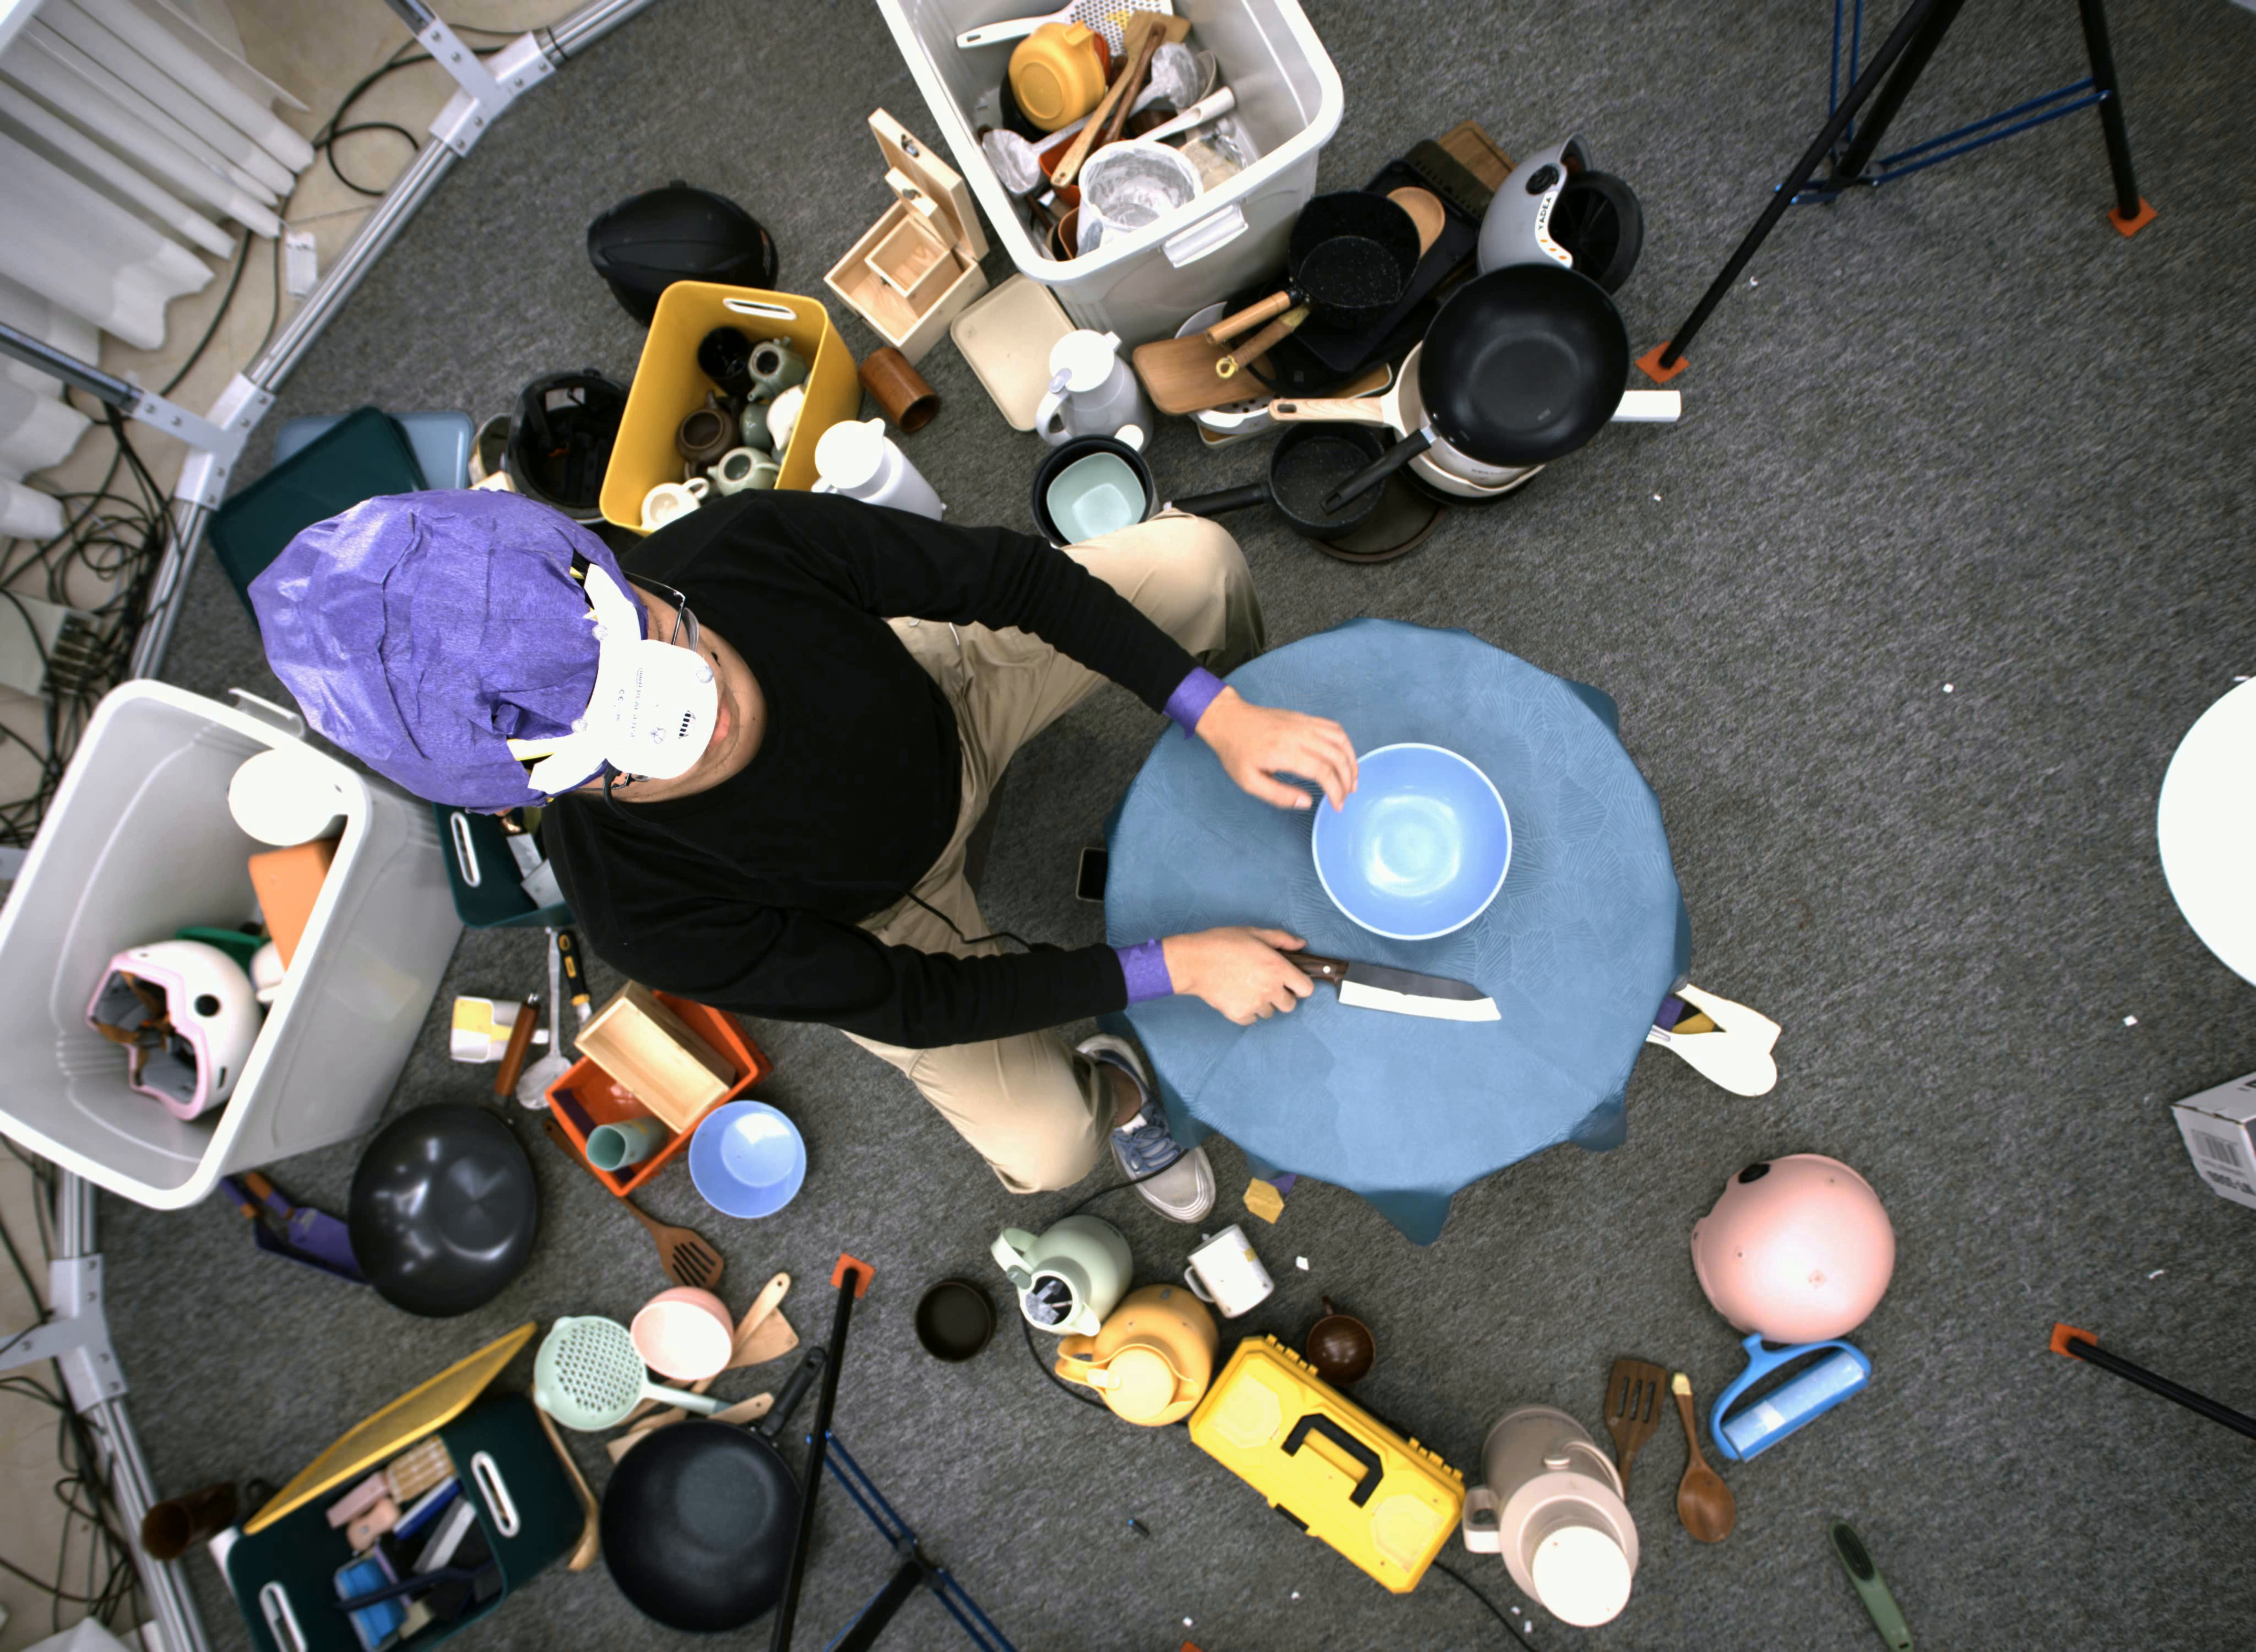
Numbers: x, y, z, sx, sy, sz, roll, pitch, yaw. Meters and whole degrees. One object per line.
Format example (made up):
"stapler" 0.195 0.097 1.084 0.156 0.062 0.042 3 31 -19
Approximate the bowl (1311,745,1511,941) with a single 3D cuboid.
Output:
"bowl" 0.289 0.019 1.415 0.197 0.095 0.196 -1 87 13

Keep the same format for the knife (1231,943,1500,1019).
"knife" 0.248 0.163 1.454 0.289 0.020 0.050 12 96 9
